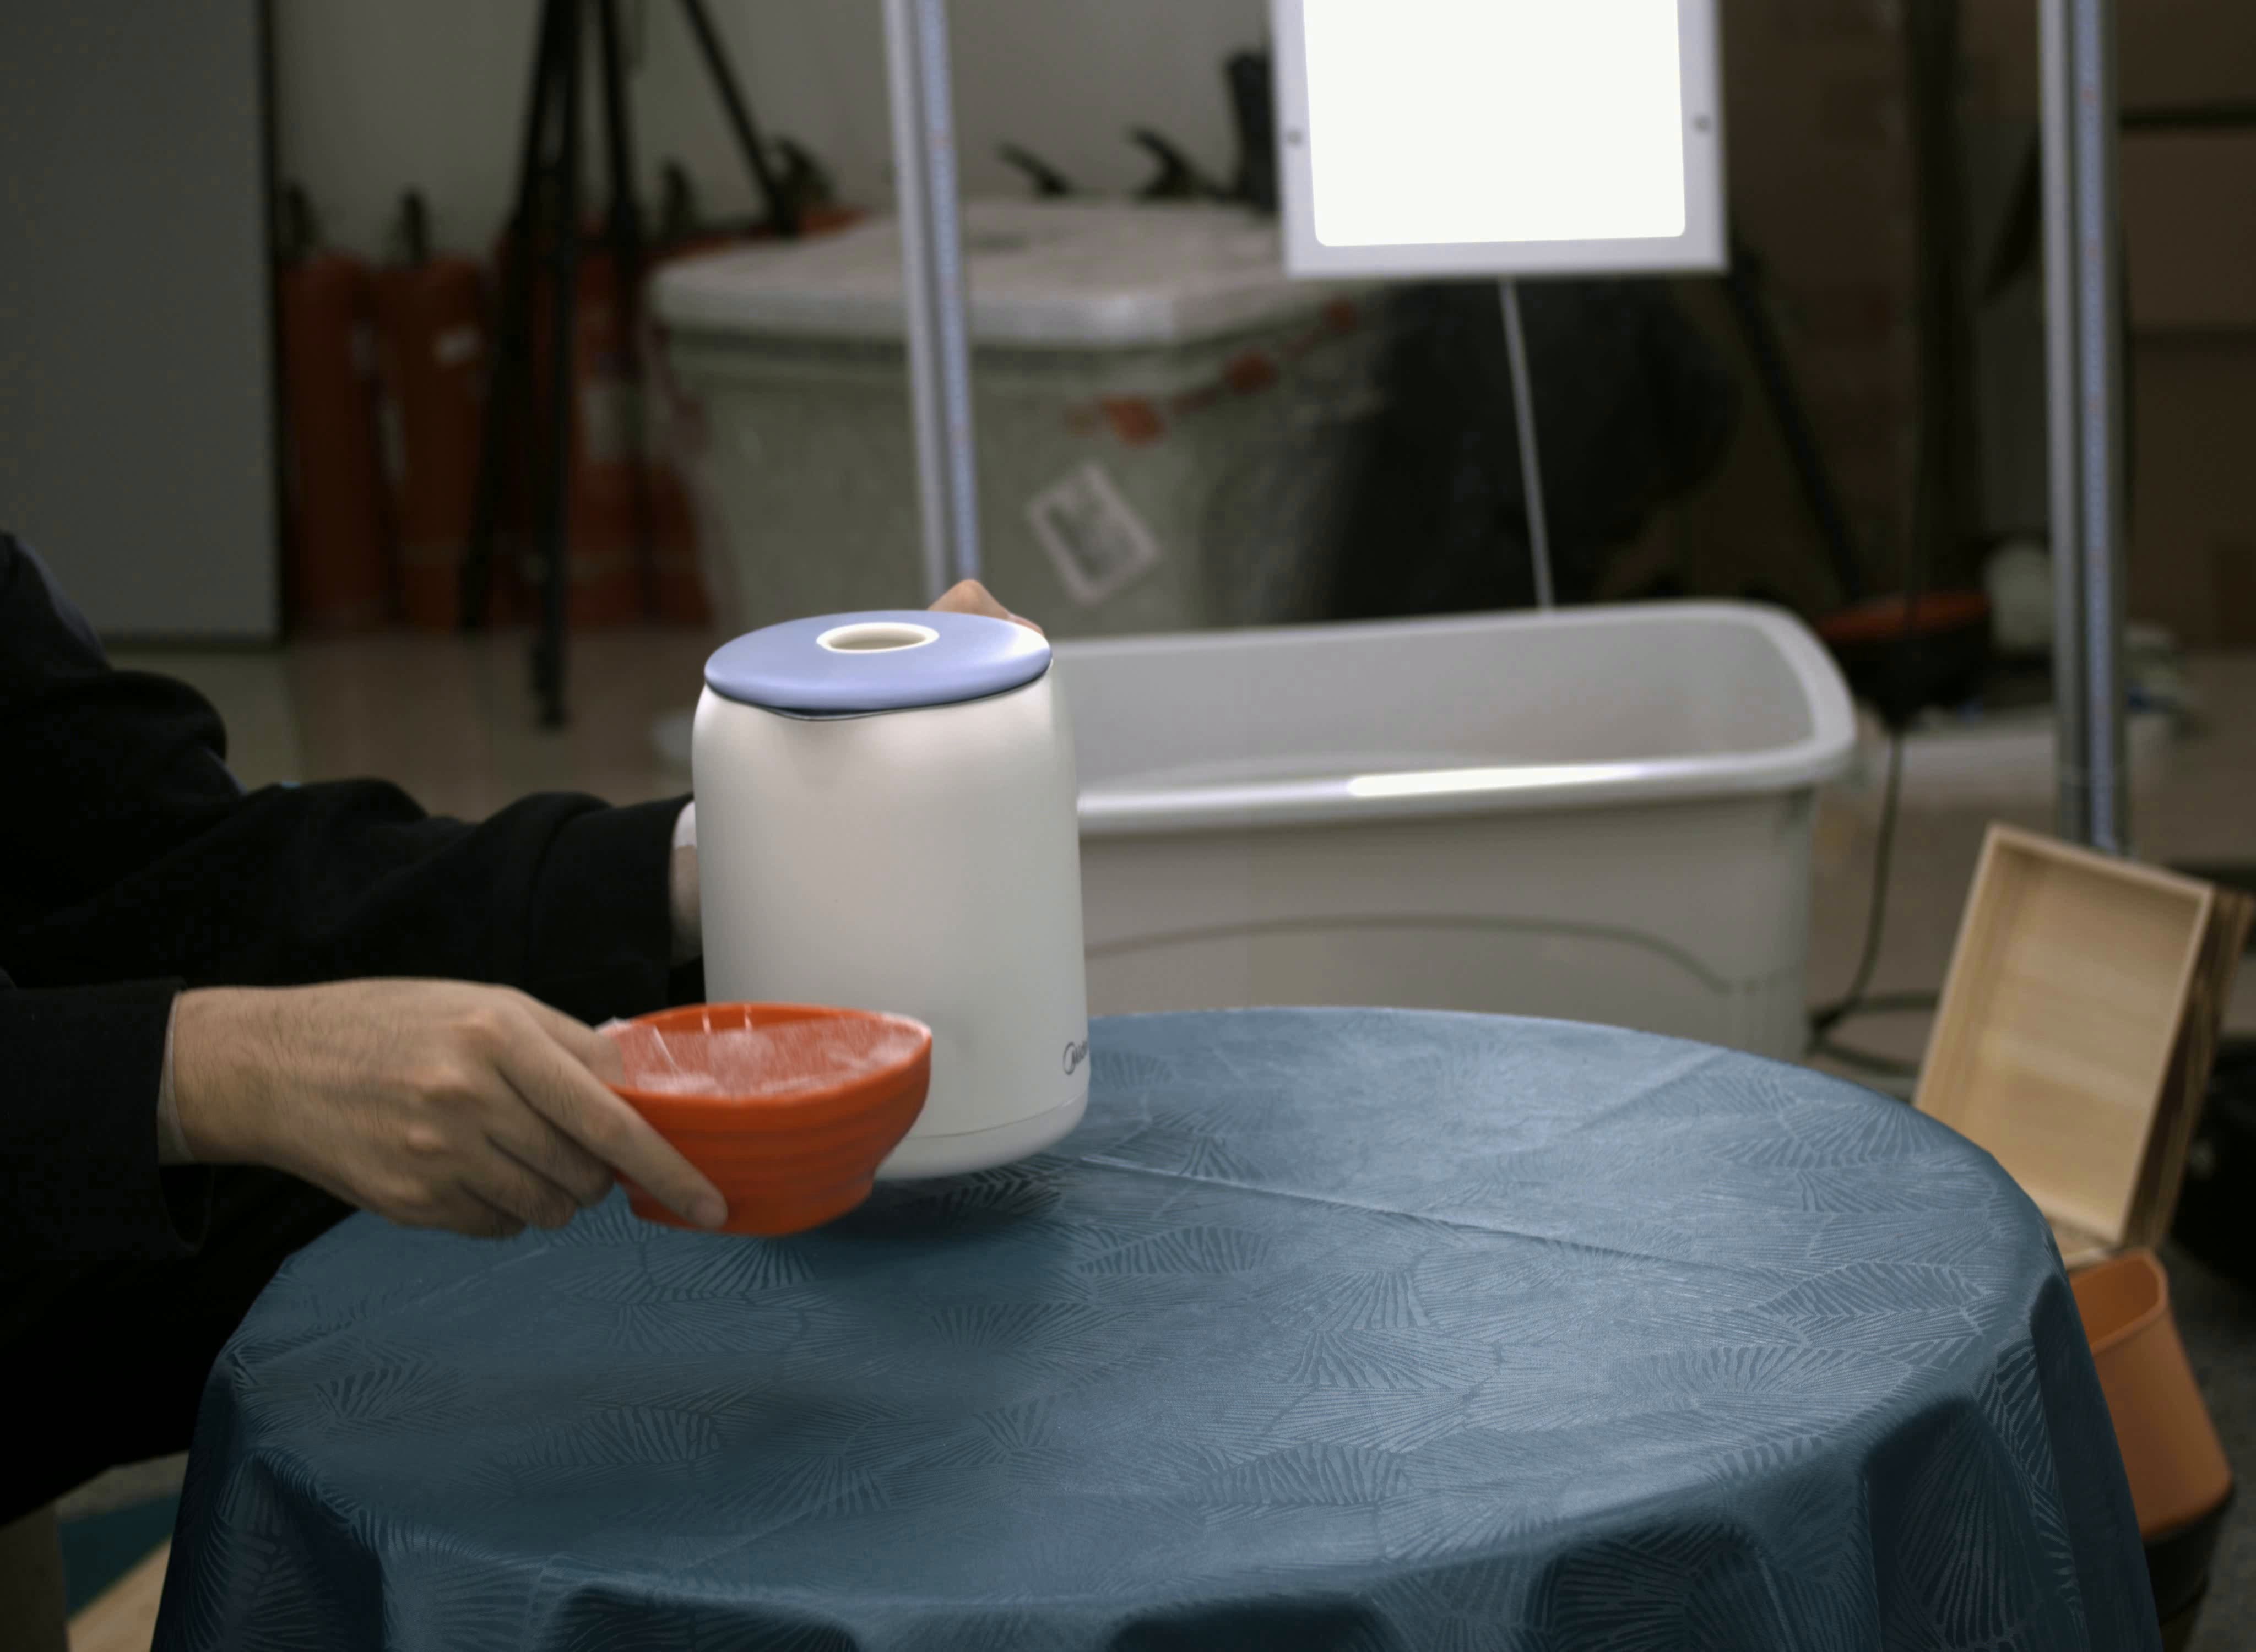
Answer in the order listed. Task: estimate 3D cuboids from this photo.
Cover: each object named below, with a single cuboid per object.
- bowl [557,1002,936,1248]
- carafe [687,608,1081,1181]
[{"bbox_3d":[-0.118,0.095,1.712,0.118,0.051,0.119,-2,15,-1],"label":"bowl"},{"bbox_3d":[-0.077,0.017,1.906,0.133,0.183,0.188,3,13,15],"label":"carafe"}]
